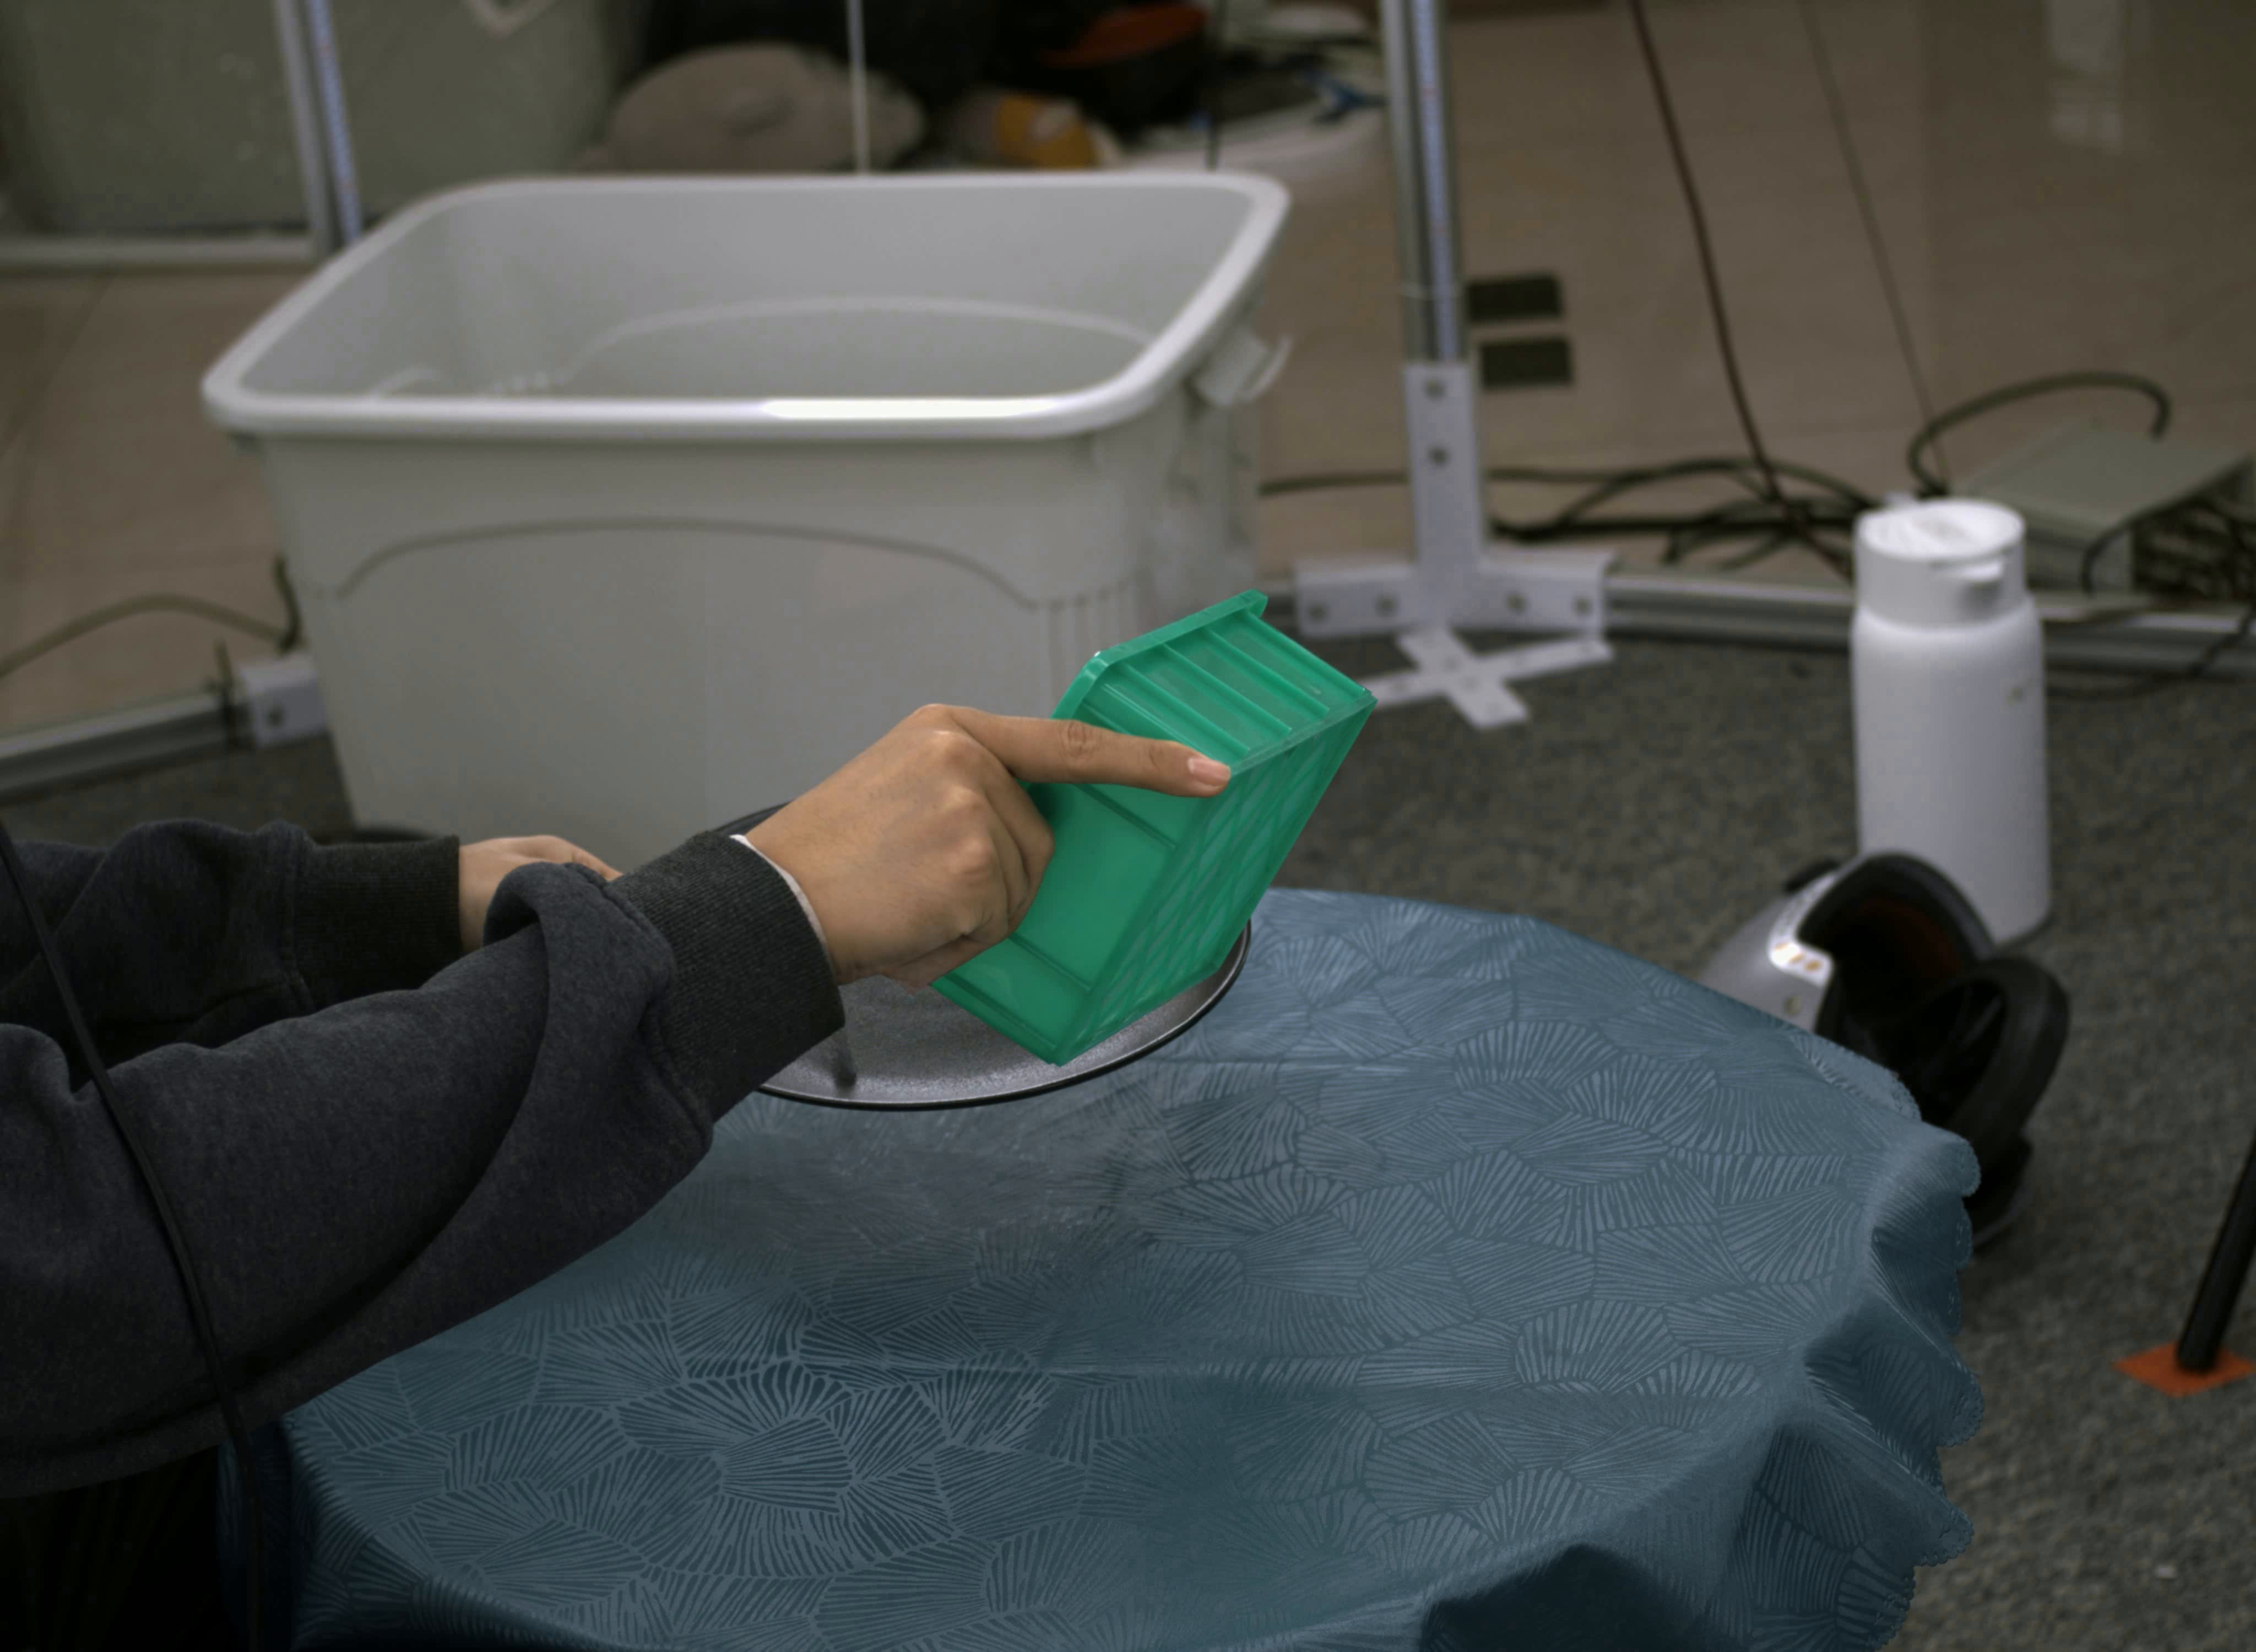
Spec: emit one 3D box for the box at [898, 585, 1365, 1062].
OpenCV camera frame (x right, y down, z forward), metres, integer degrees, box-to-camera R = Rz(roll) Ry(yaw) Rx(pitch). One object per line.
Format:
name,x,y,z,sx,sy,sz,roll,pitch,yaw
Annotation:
box,0.007,0.001,1.930,0.065,0.140,0.209,31,16,9

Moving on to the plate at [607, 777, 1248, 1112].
plate,-0.075,0.049,2.147,0.244,0.024,0.240,-1,30,1
